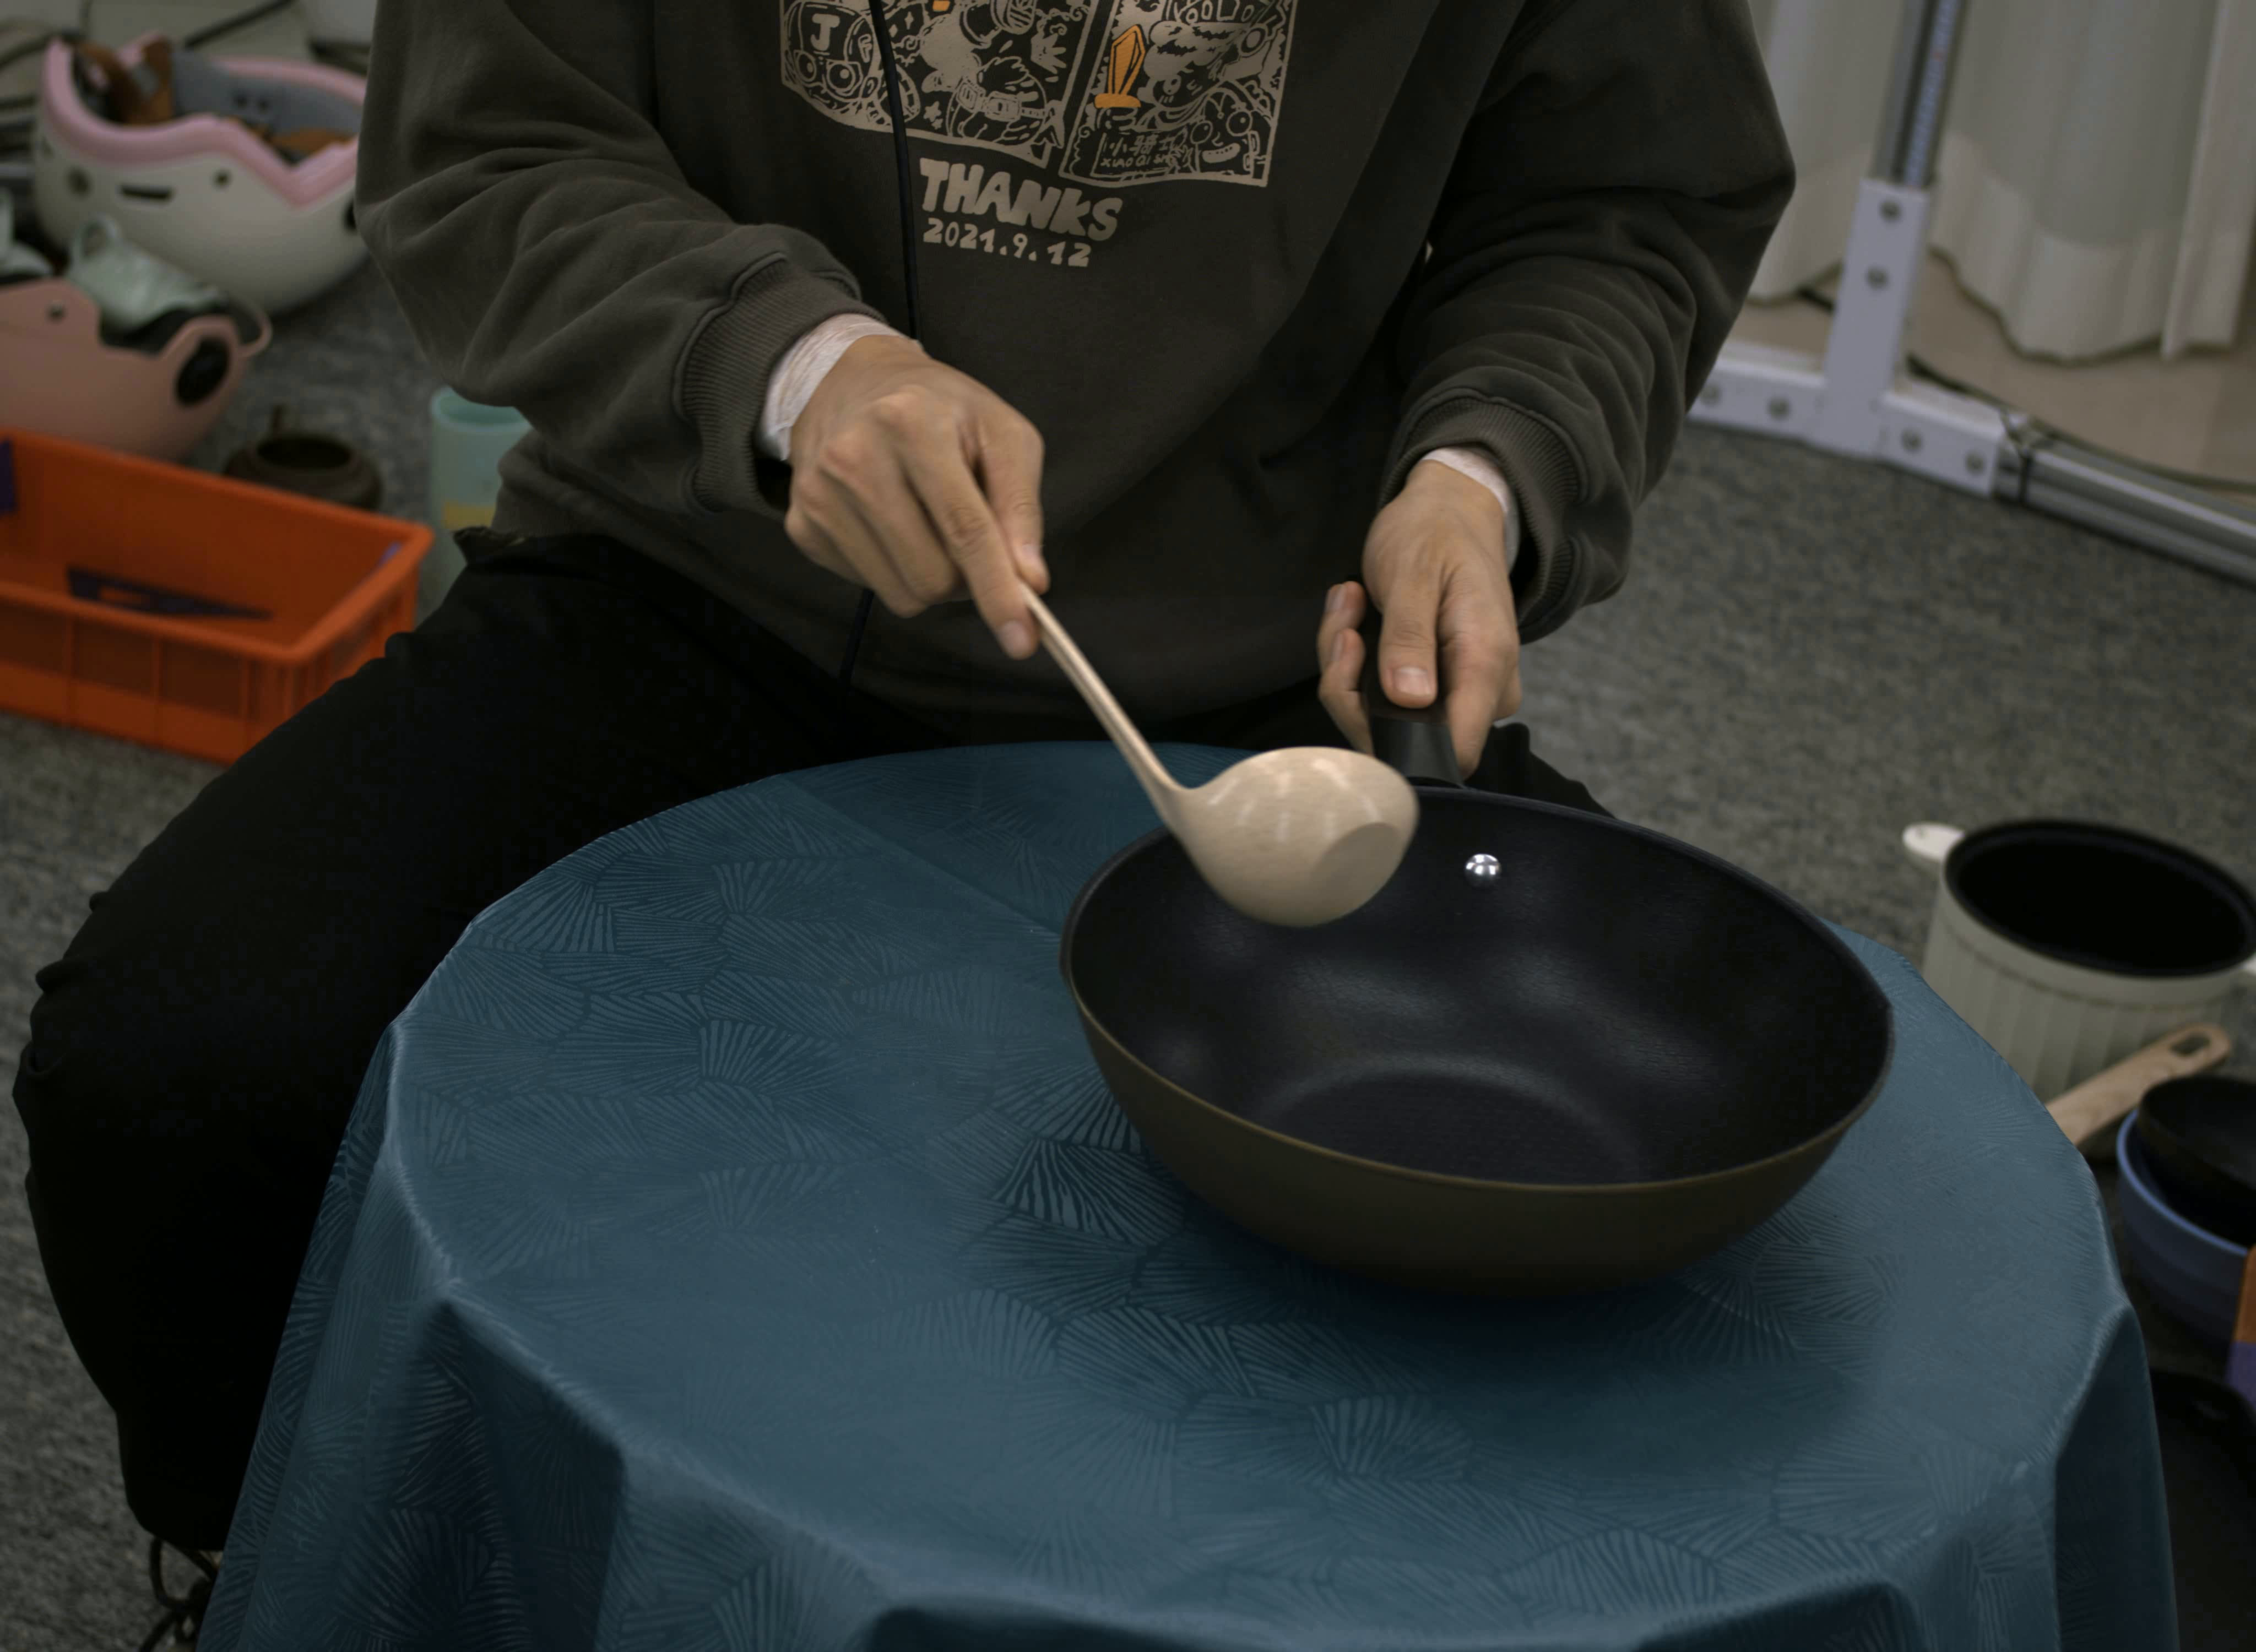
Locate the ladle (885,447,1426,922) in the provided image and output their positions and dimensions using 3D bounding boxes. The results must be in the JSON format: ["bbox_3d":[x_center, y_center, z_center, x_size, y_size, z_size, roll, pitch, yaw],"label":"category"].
[{"bbox_3d":[0.010,-0.066,1.830,0.072,0.071,0.257,-30,56,-11],"label":"ladle"}]

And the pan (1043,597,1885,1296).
[{"bbox_3d":[0.105,0.044,1.895,0.287,0.086,0.466,4,26,-6],"label":"pan"}]
